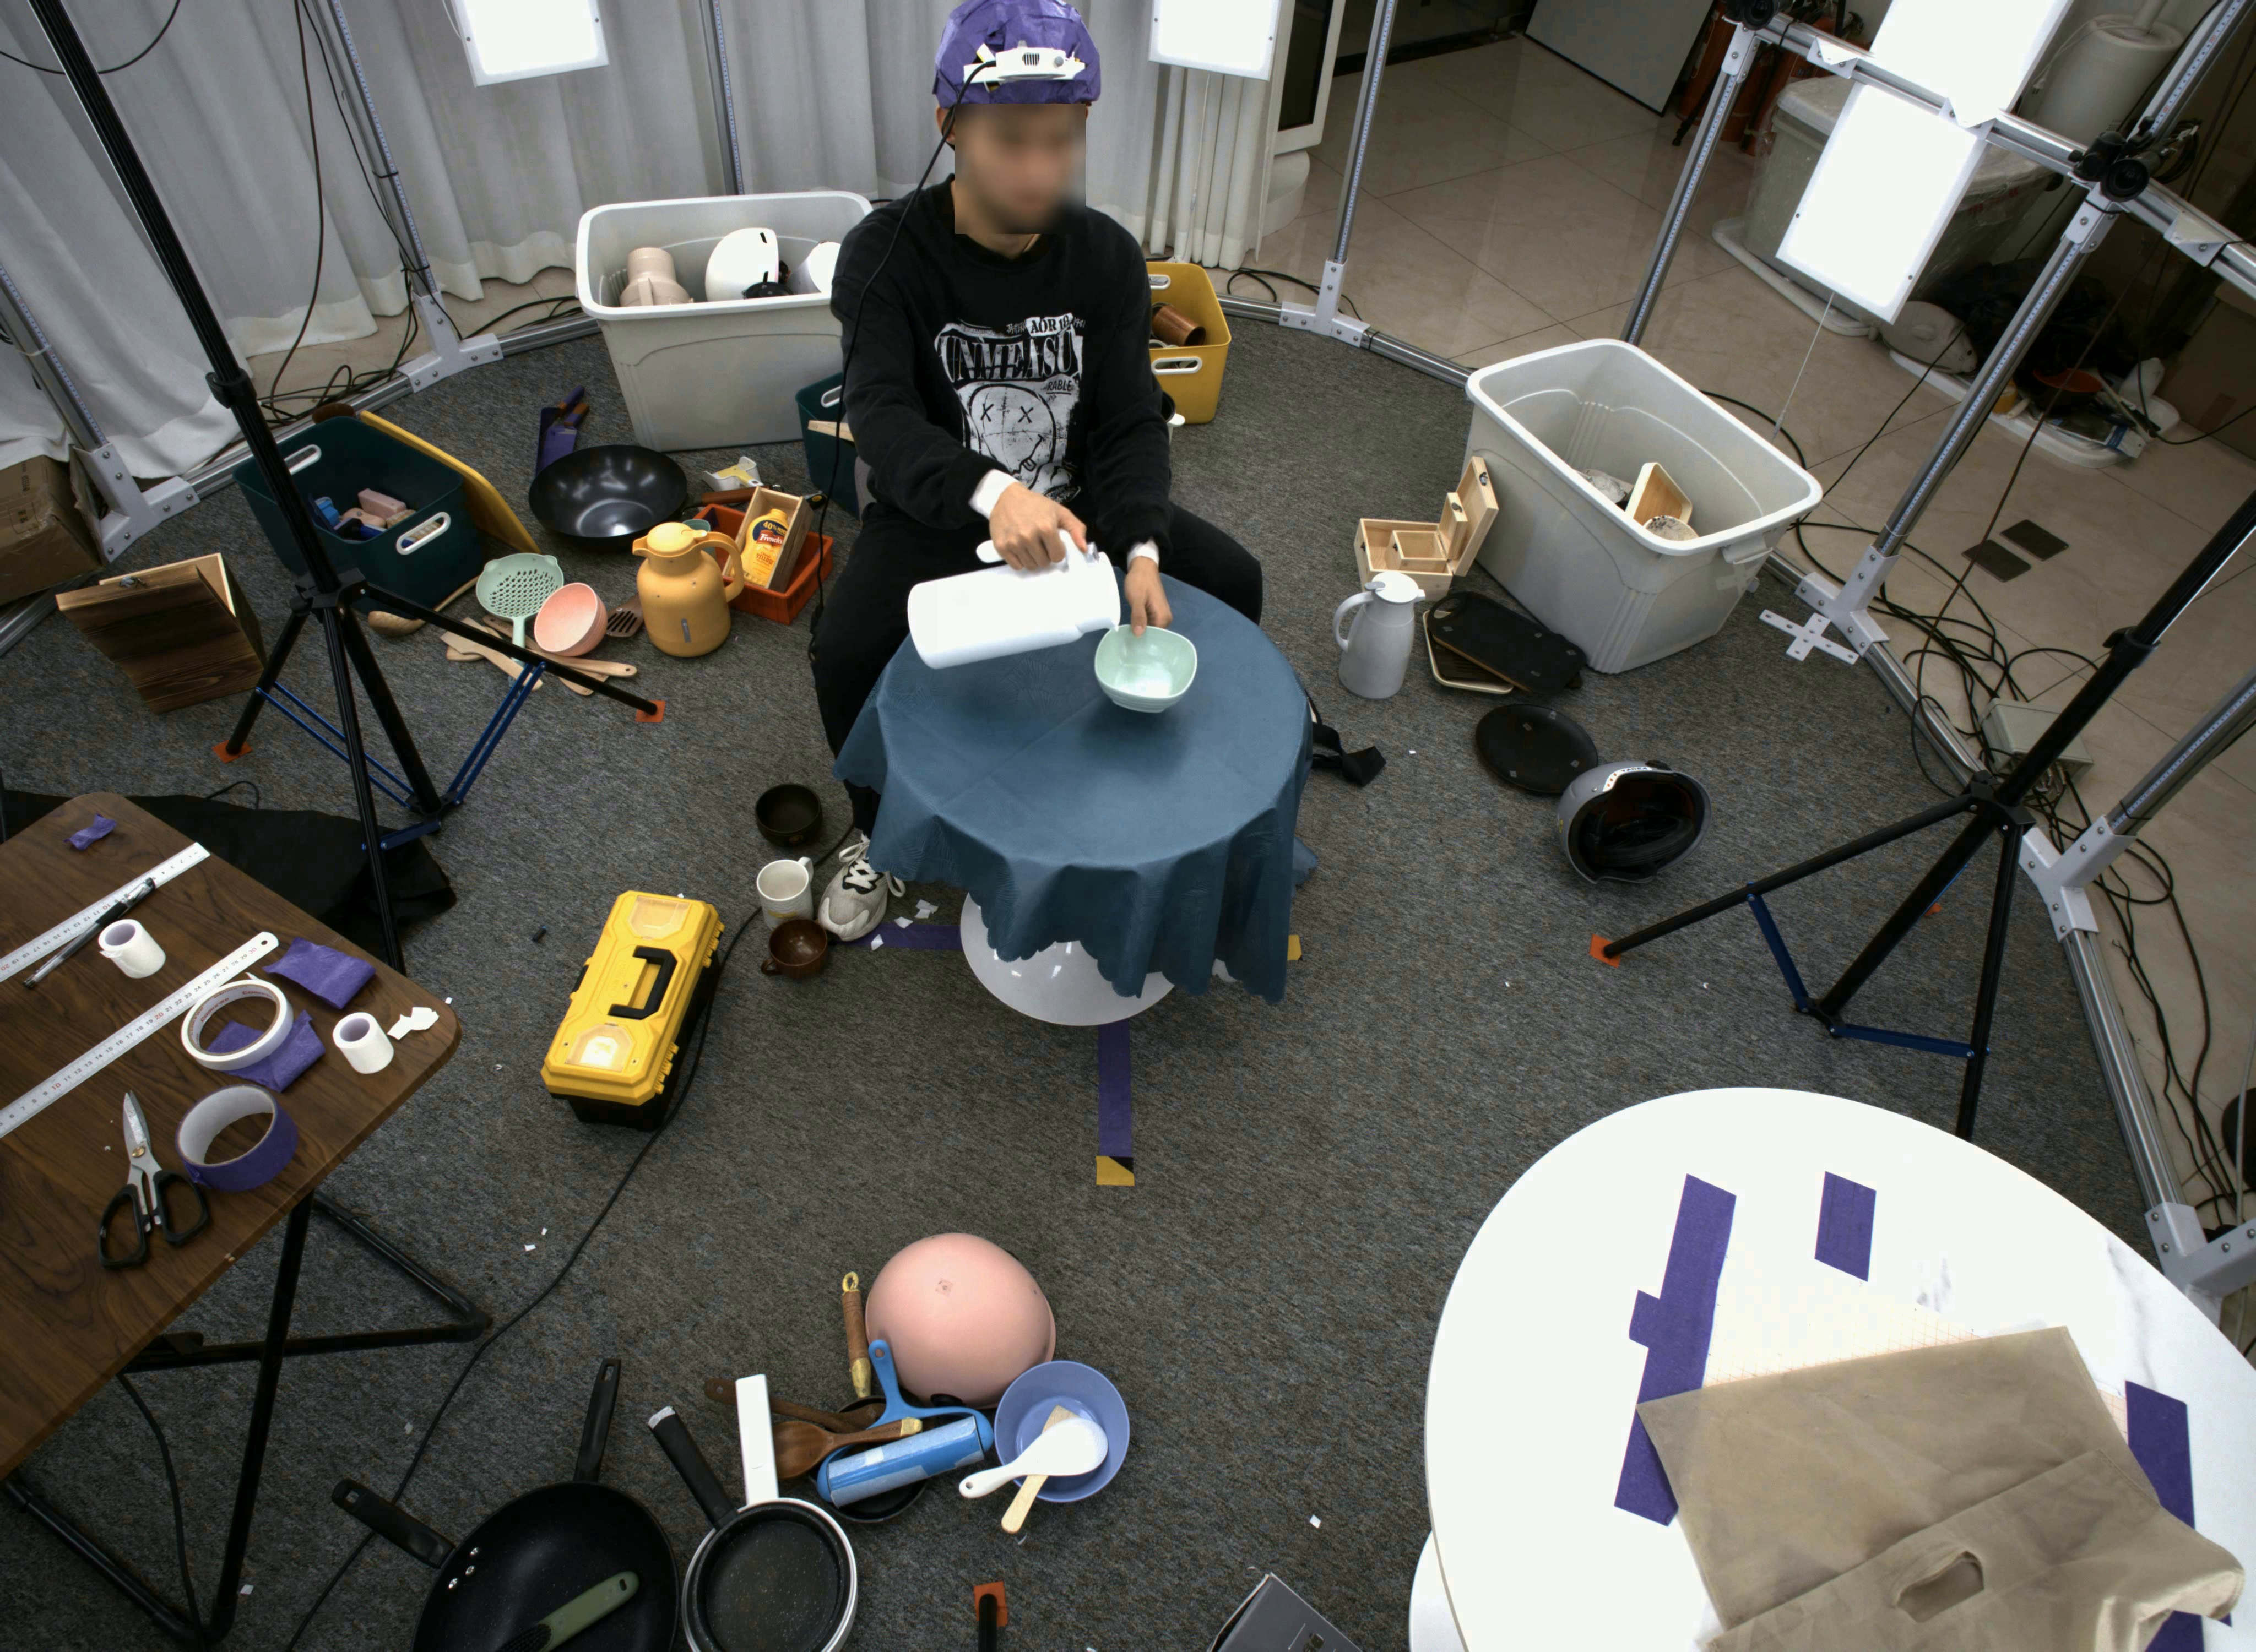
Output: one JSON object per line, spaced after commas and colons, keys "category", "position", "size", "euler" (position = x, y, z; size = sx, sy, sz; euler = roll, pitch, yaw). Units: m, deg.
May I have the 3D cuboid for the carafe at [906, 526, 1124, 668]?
{"category": "carafe", "position": [-0.155, -0.299, 1.692], "size": [0.269, 0.168, 0.127], "euler": [-8, 48, 15]}

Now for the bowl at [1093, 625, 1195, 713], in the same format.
{"category": "bowl", "position": [0.020, -0.208, 1.772], "size": [0.151, 0.057, 0.155], "euler": [3, 50, -4]}
